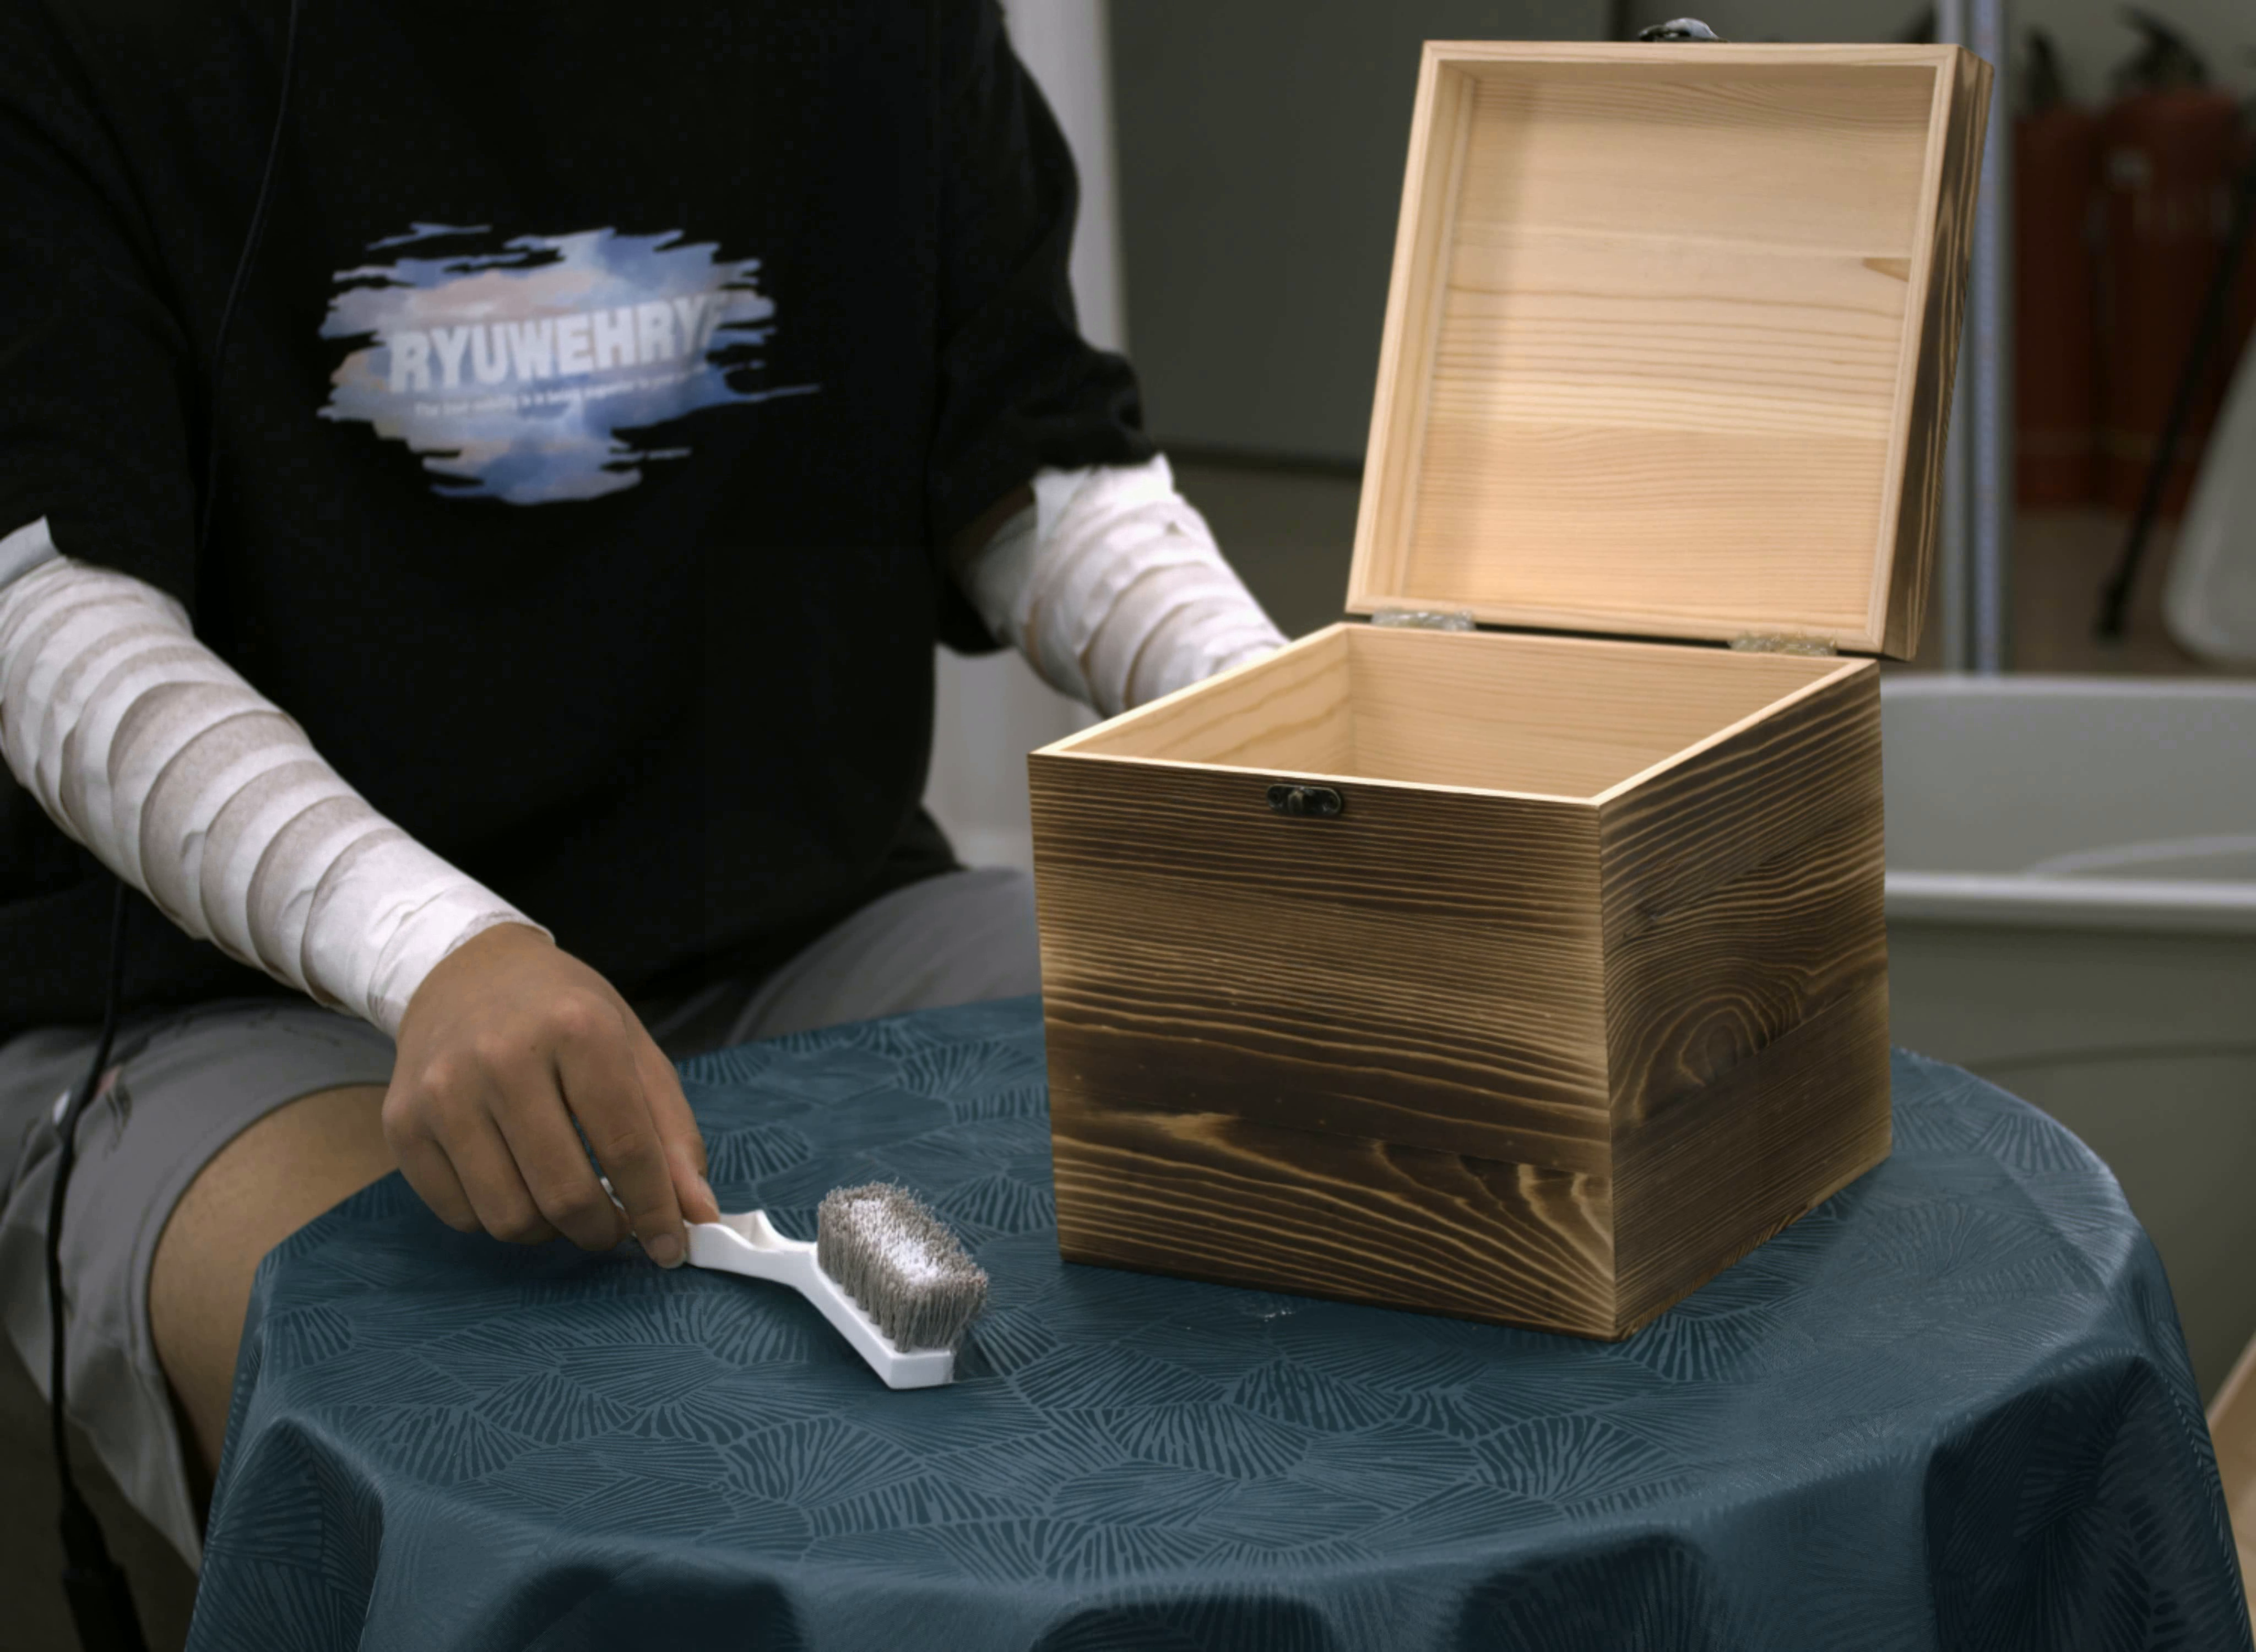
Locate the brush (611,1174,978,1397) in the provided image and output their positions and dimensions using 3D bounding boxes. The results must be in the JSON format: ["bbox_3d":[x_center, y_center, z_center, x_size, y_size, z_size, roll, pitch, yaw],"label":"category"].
[{"bbox_3d":[-0.110,0.123,1.690,0.033,0.051,0.246,-14,17,-24],"label":"brush"}]

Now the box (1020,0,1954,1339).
[{"bbox_3d":[0.127,-0.066,1.732,0.210,0.379,0.317,3,15,33],"label":"box"}]
